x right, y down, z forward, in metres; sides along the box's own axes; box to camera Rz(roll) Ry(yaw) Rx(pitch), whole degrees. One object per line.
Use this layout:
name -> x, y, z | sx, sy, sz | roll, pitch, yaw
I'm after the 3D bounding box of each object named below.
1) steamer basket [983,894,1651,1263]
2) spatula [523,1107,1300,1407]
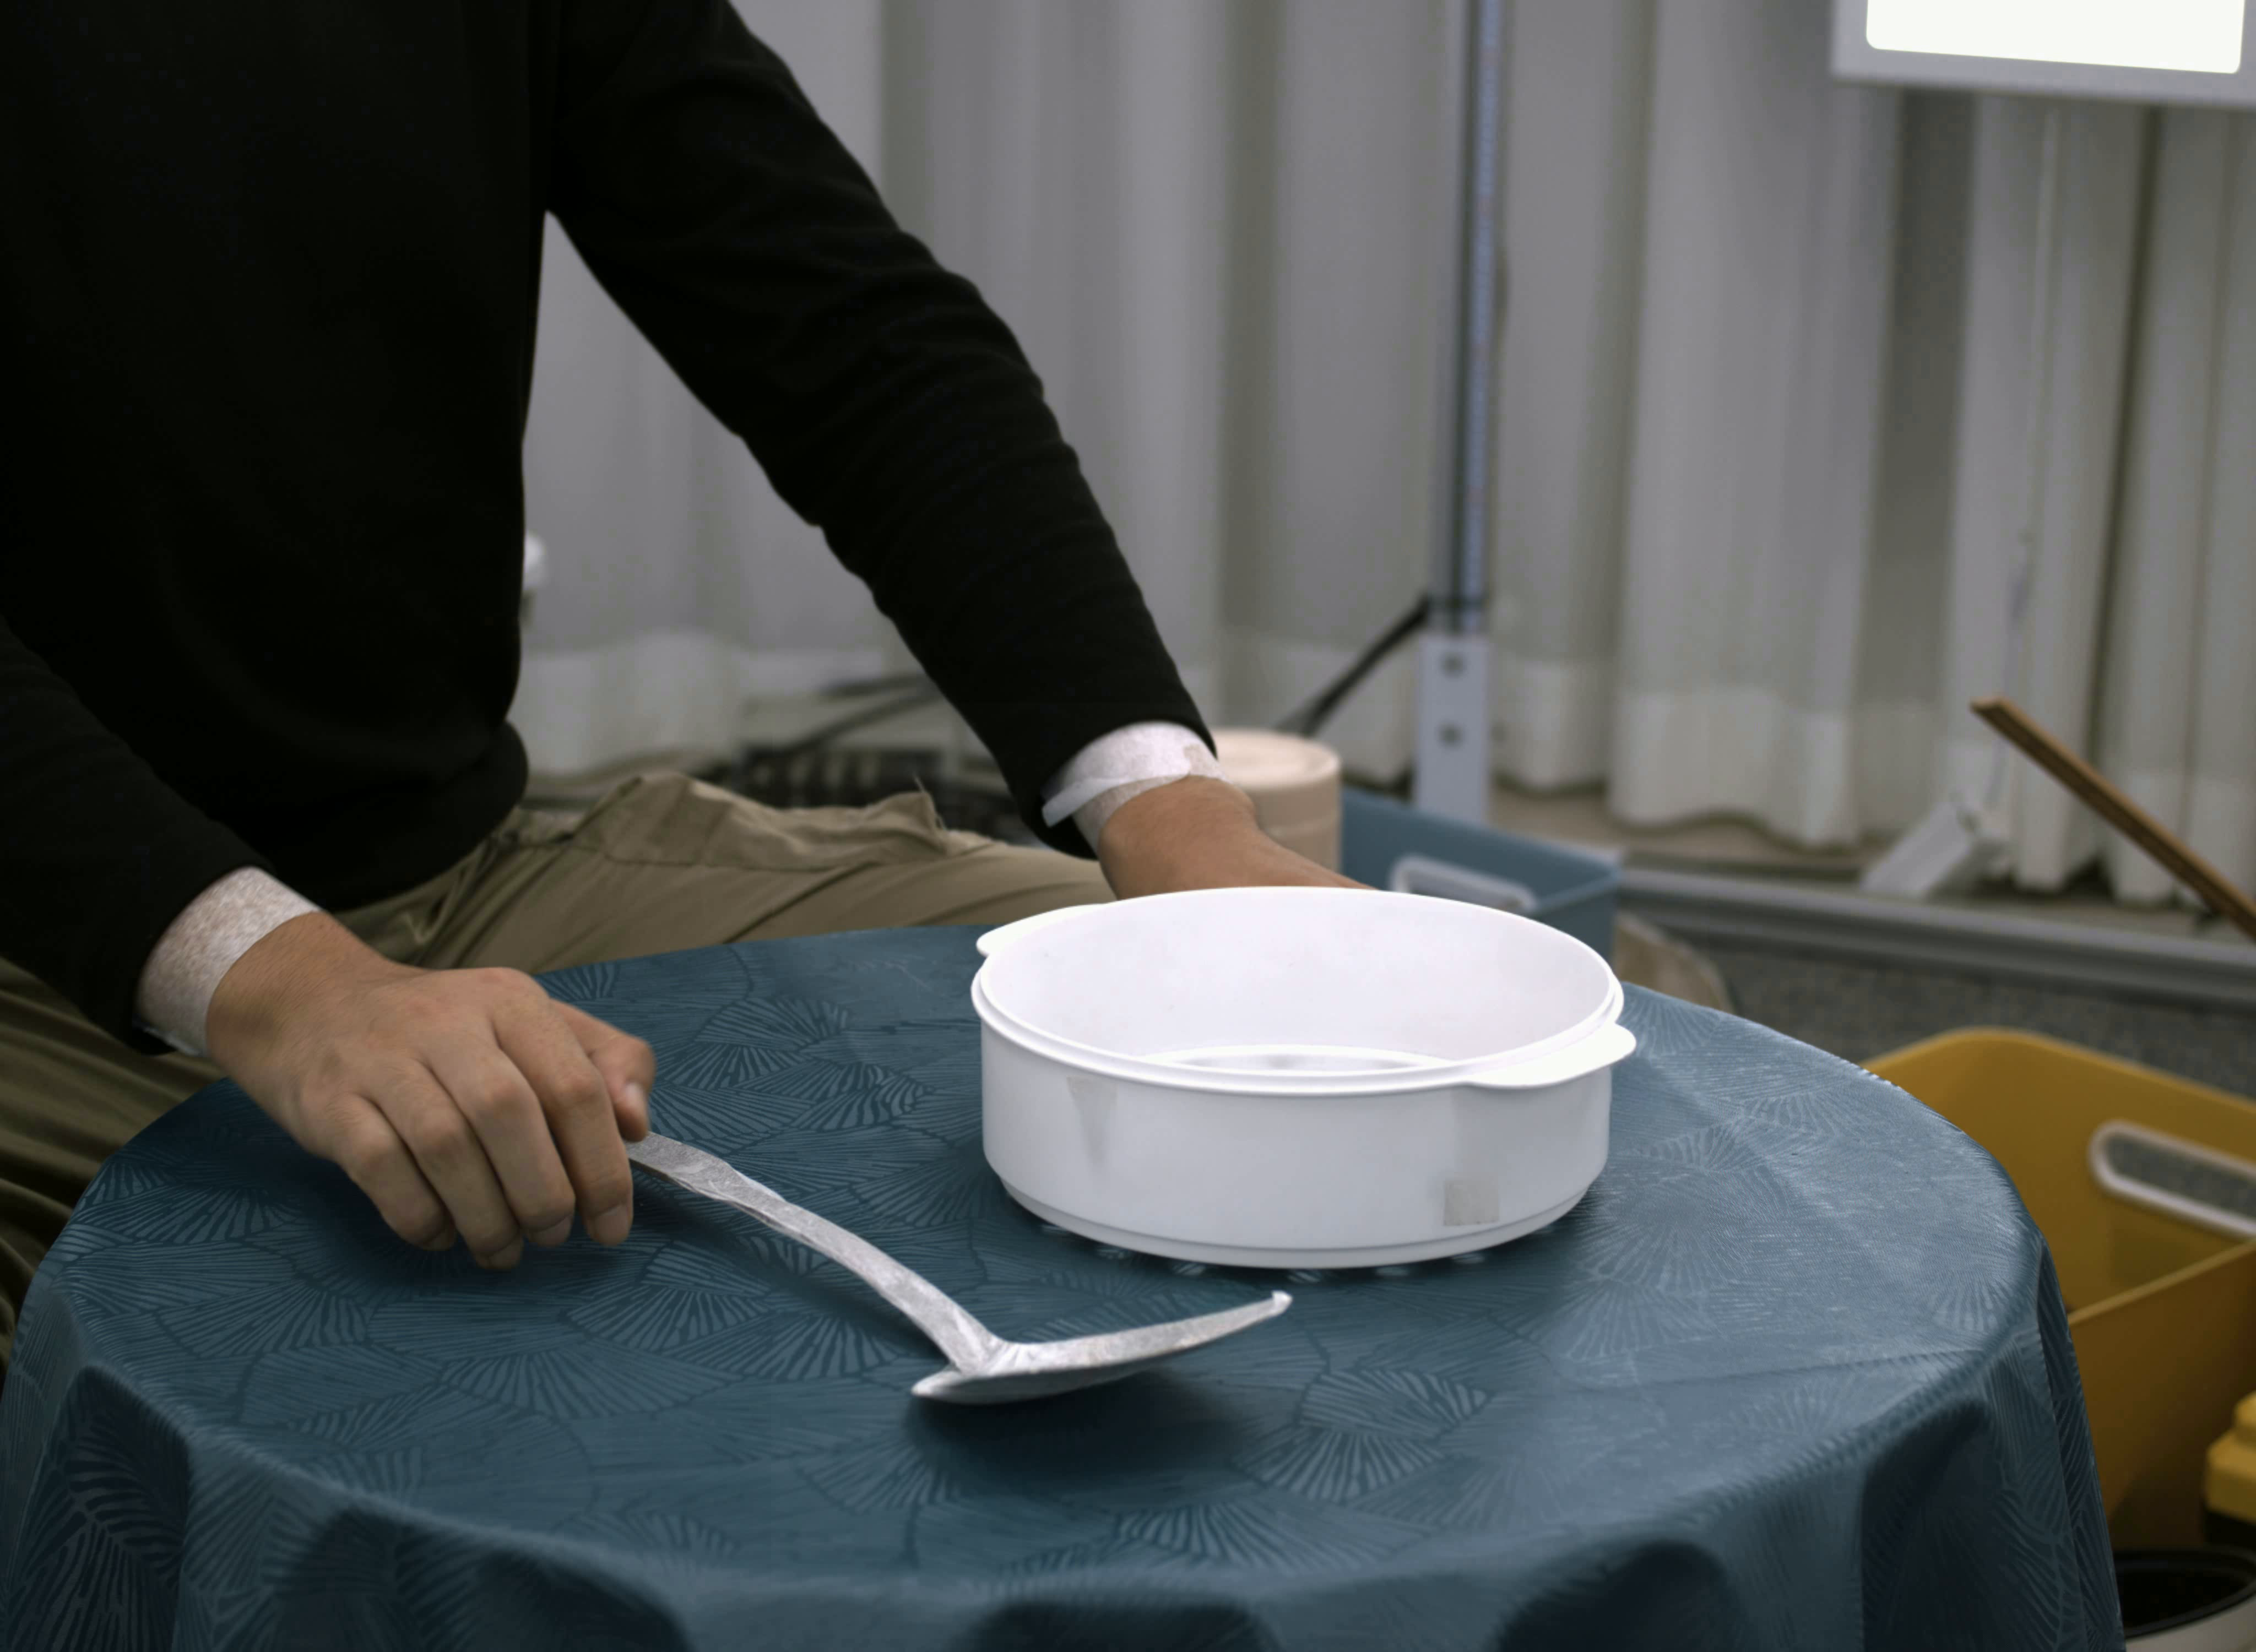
steamer basket -> 0.056, 0.077, 1.618 | 0.227, 0.070, 0.203 | 13, 19, 40
spatula -> -0.088, 0.115, 1.536 | 0.099, 0.045, 0.360 | -14, 21, -34
